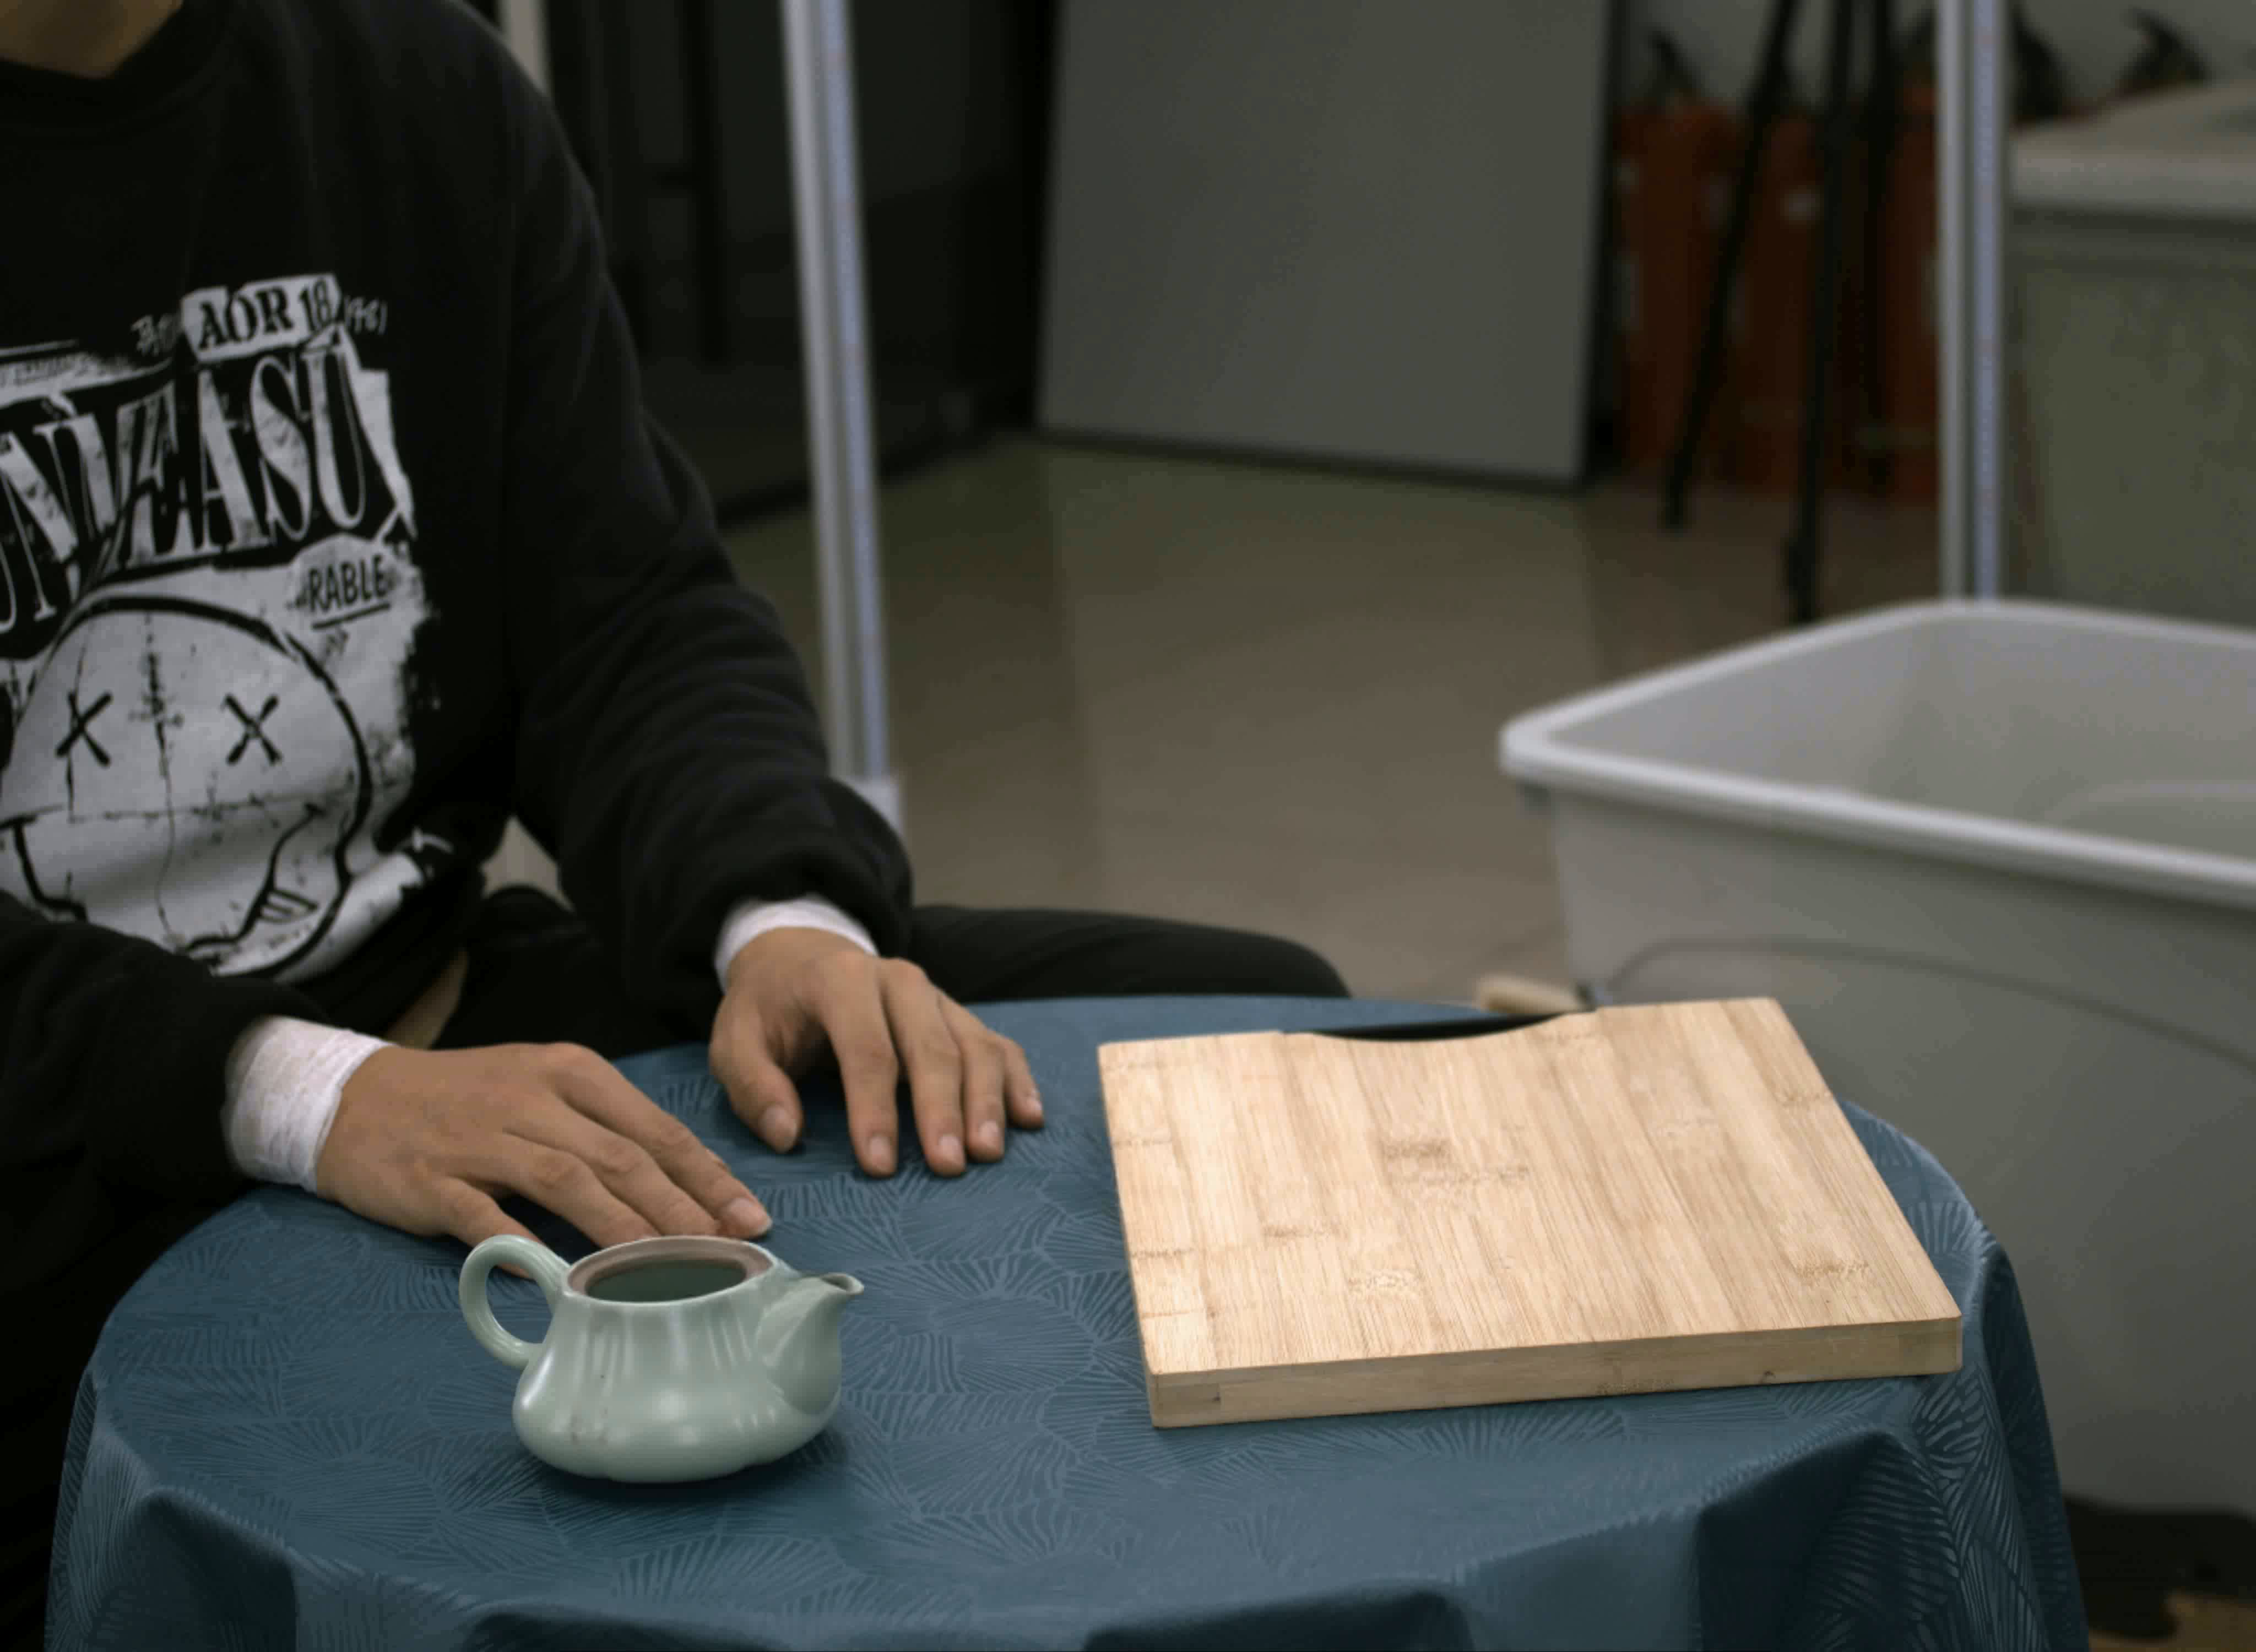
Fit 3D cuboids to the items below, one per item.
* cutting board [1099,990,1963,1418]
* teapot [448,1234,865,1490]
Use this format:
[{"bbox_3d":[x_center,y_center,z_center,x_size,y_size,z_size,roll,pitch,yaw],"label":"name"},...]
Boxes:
[{"bbox_3d":[0.116,0.116,1.723,0.247,0.024,0.349,-5,14,-2],"label":"cutting board"},{"bbox_3d":[-0.135,0.153,1.560,0.137,0.062,0.095,3,16,25],"label":"teapot"}]
